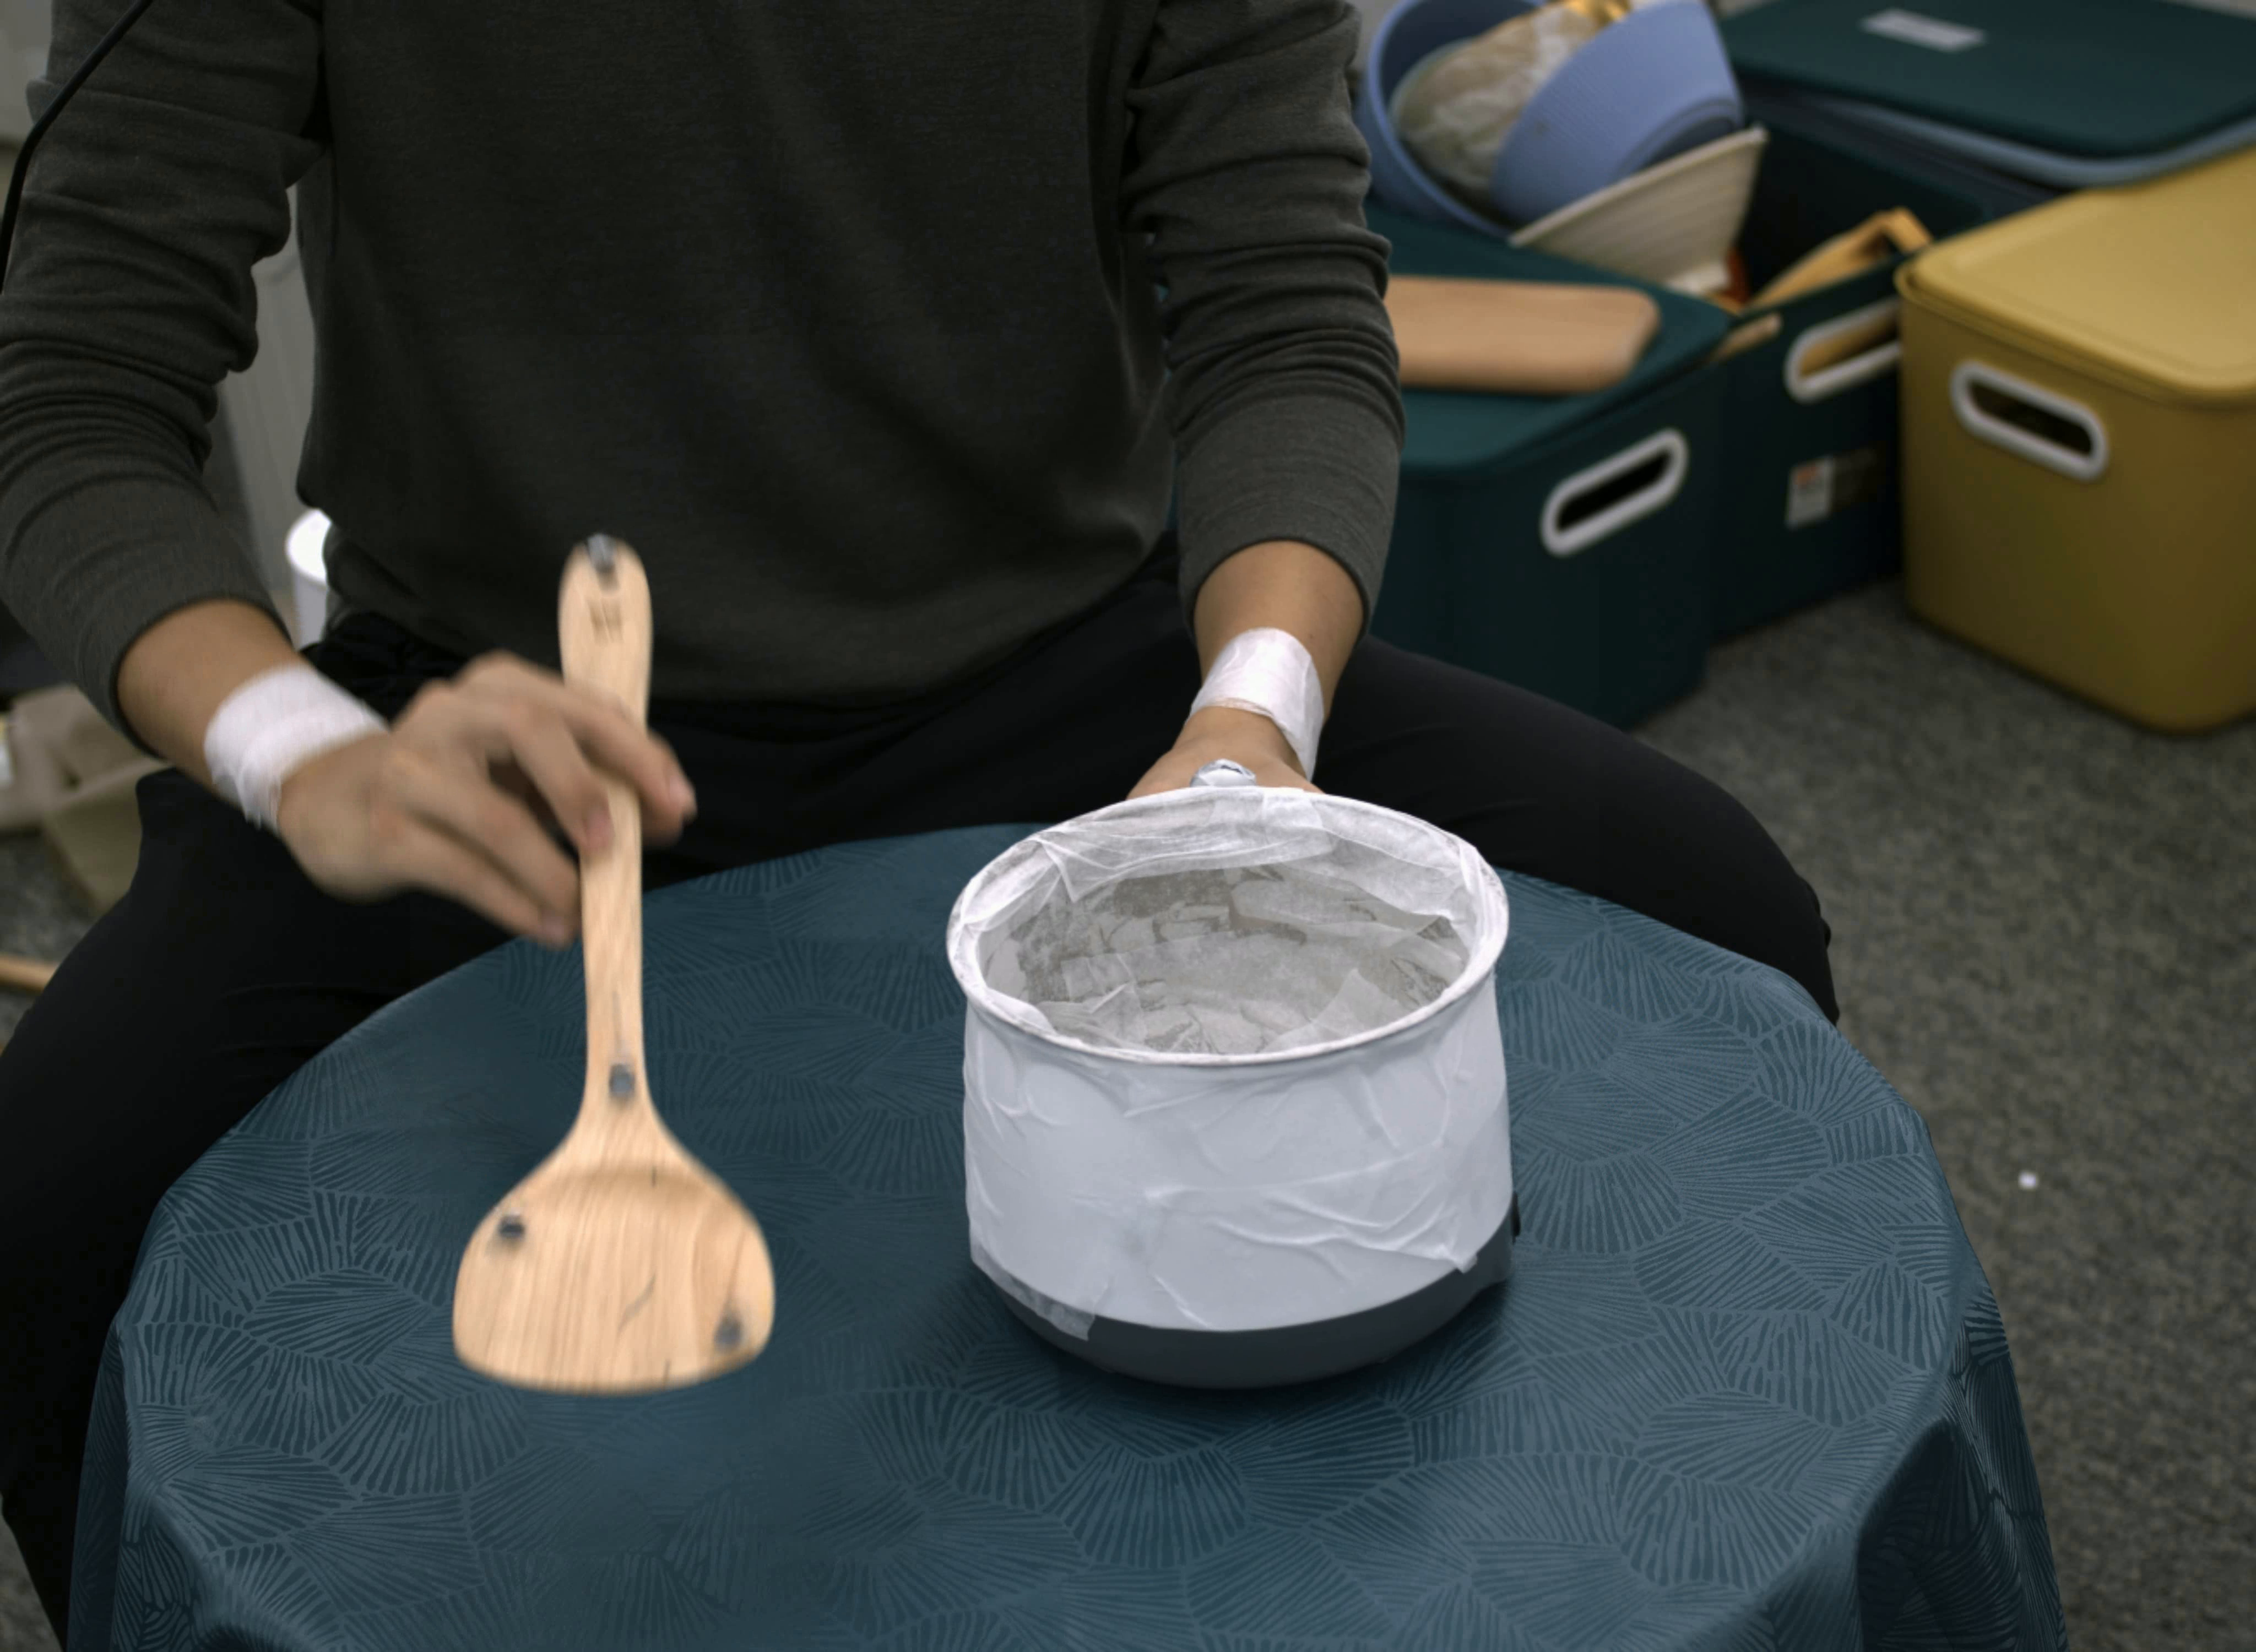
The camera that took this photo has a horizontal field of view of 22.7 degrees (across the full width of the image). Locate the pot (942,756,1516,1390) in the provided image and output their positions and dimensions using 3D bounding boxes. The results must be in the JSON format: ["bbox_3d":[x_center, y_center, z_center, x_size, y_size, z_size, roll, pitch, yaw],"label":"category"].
[{"bbox_3d":[0.033,0.072,1.808,0.178,0.135,0.237,-3,27,0],"label":"pot"}]

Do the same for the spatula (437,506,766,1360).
[{"bbox_3d":[-0.168,0.024,1.754,0.095,0.018,0.398,-1,42,-6],"label":"spatula"}]
